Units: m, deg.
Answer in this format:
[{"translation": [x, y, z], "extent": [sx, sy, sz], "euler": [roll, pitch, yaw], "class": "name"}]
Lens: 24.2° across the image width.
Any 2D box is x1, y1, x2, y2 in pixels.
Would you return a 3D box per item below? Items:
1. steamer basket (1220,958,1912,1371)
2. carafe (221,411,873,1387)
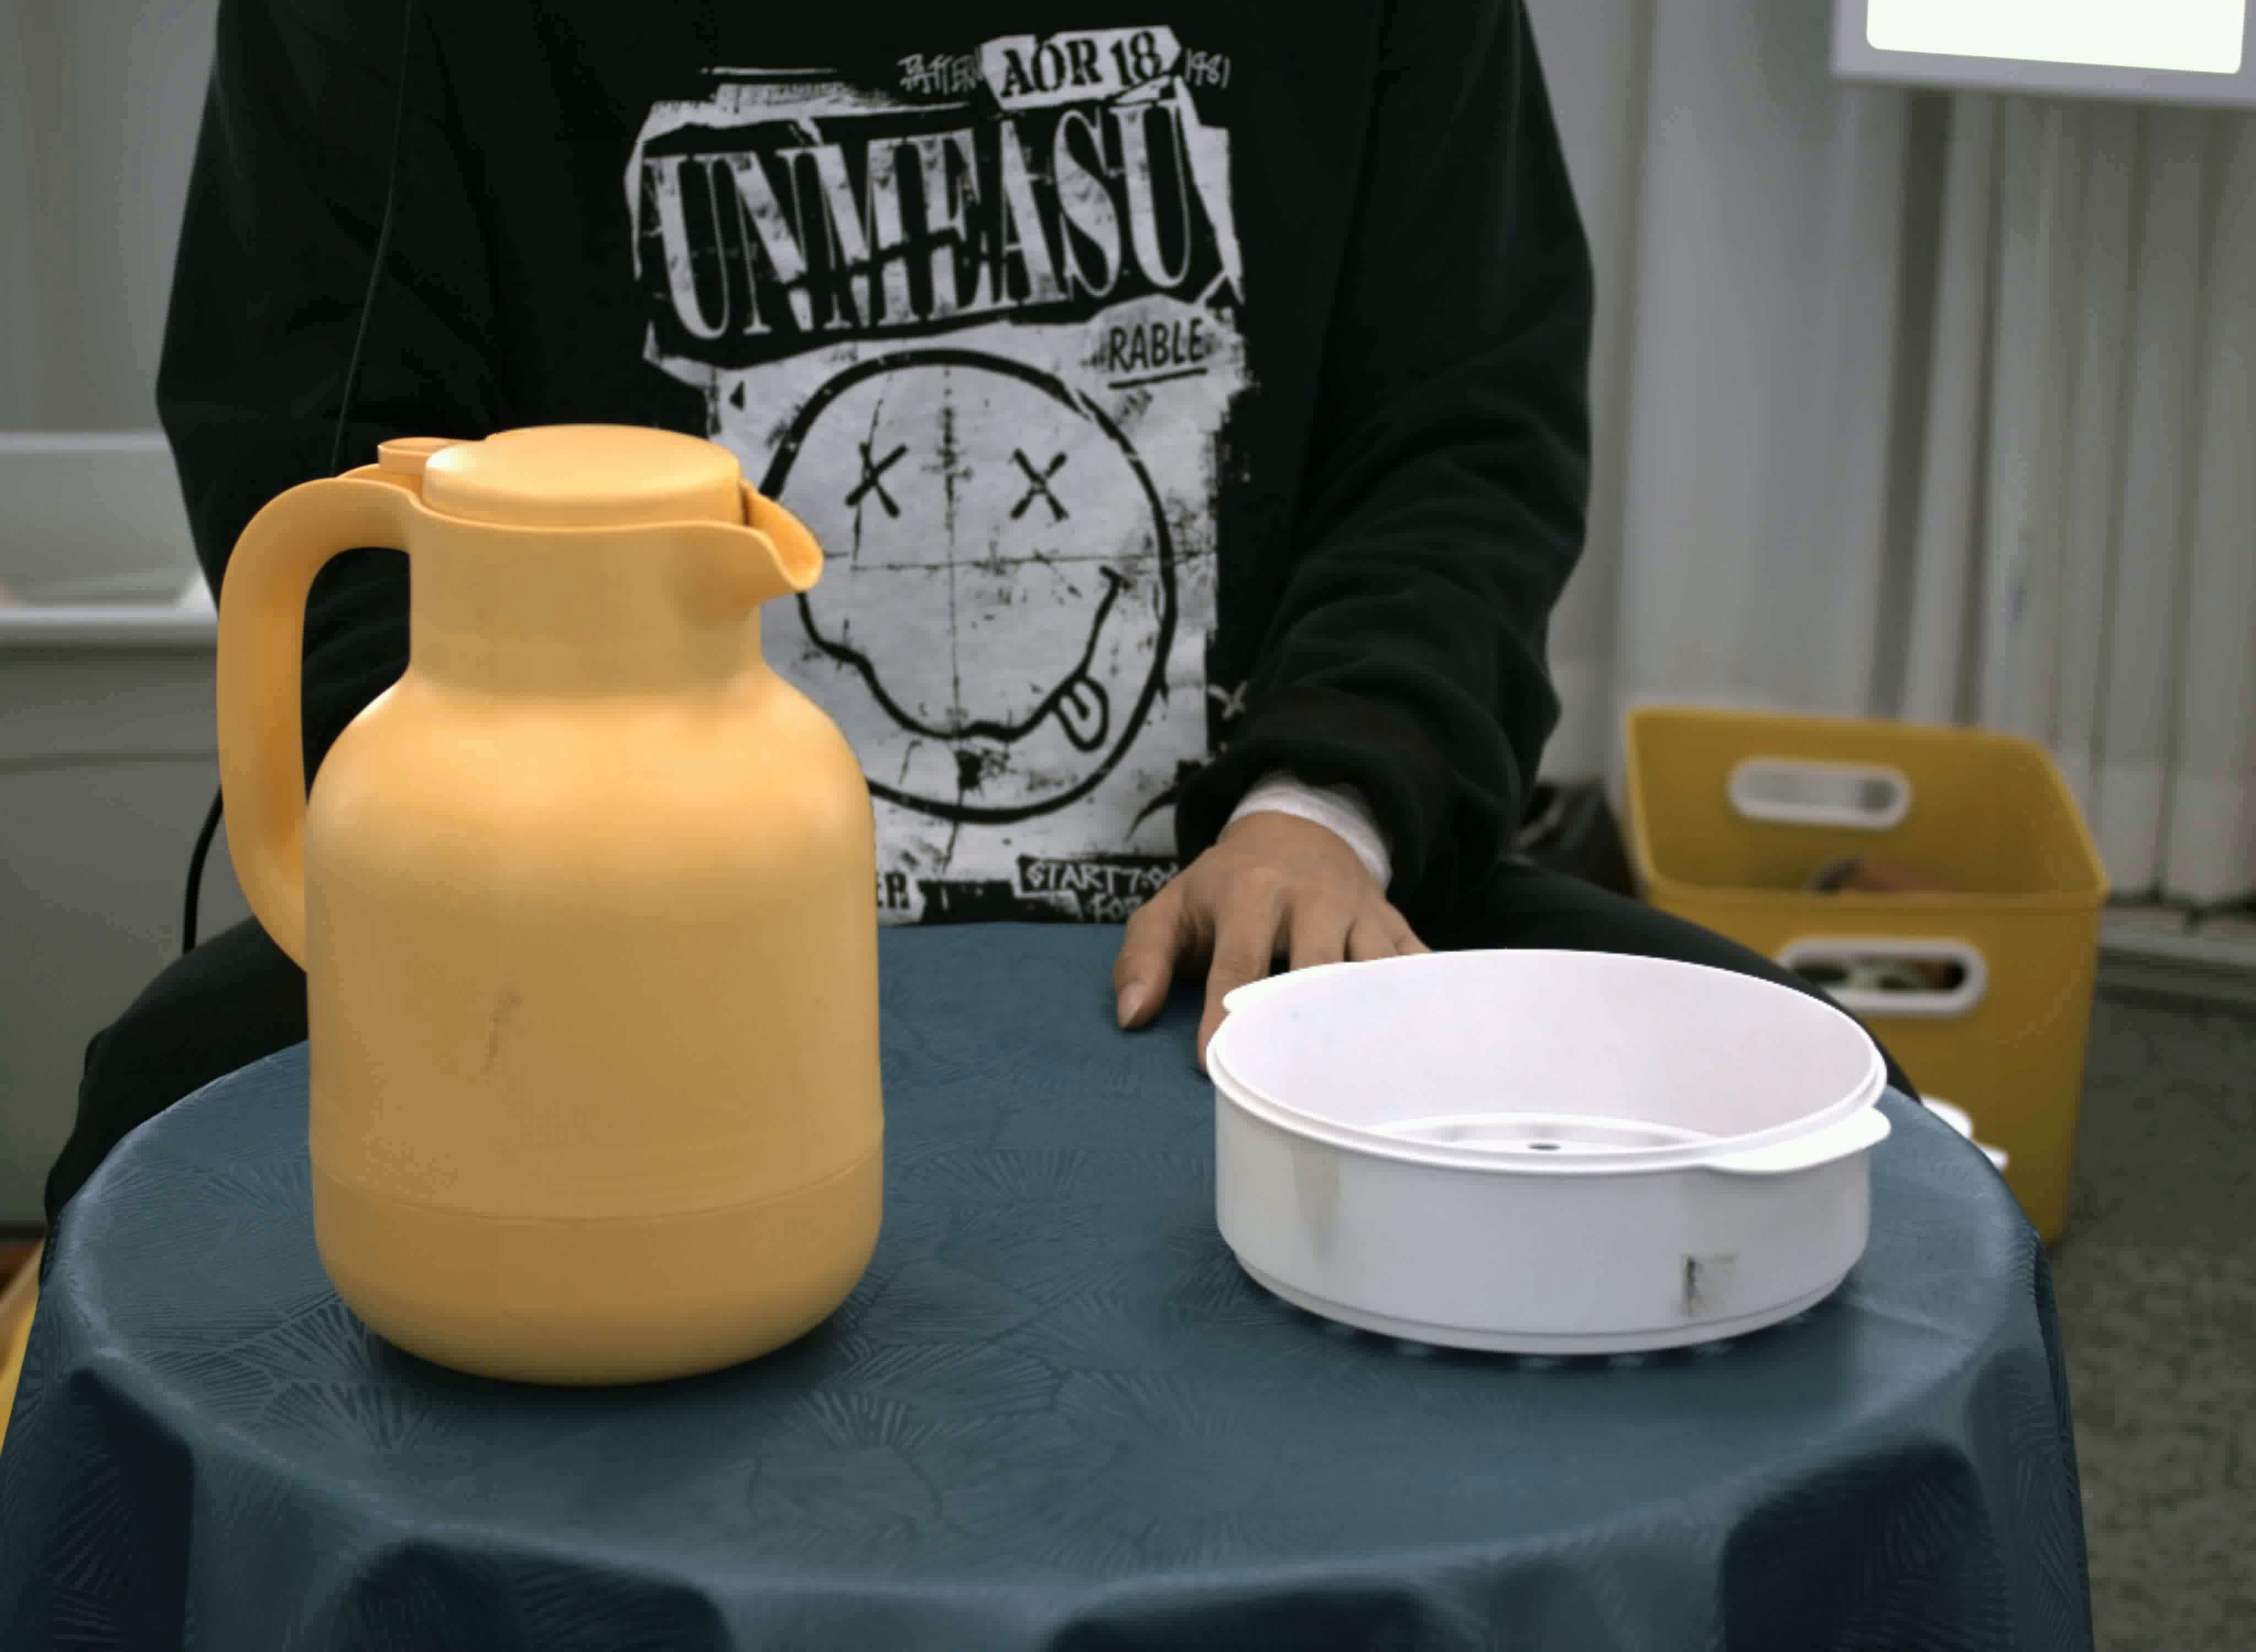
[{"translation": [0.127, 0.099, 1.556], "extent": [0.203, 0.070, 0.227], "euler": [-15, 22, -42], "class": "steamer basket"}, {"translation": [-0.168, 0.013, 1.484], "extent": [0.200, 0.262, 0.164], "euler": [11, 17, 29], "class": "carafe"}]
